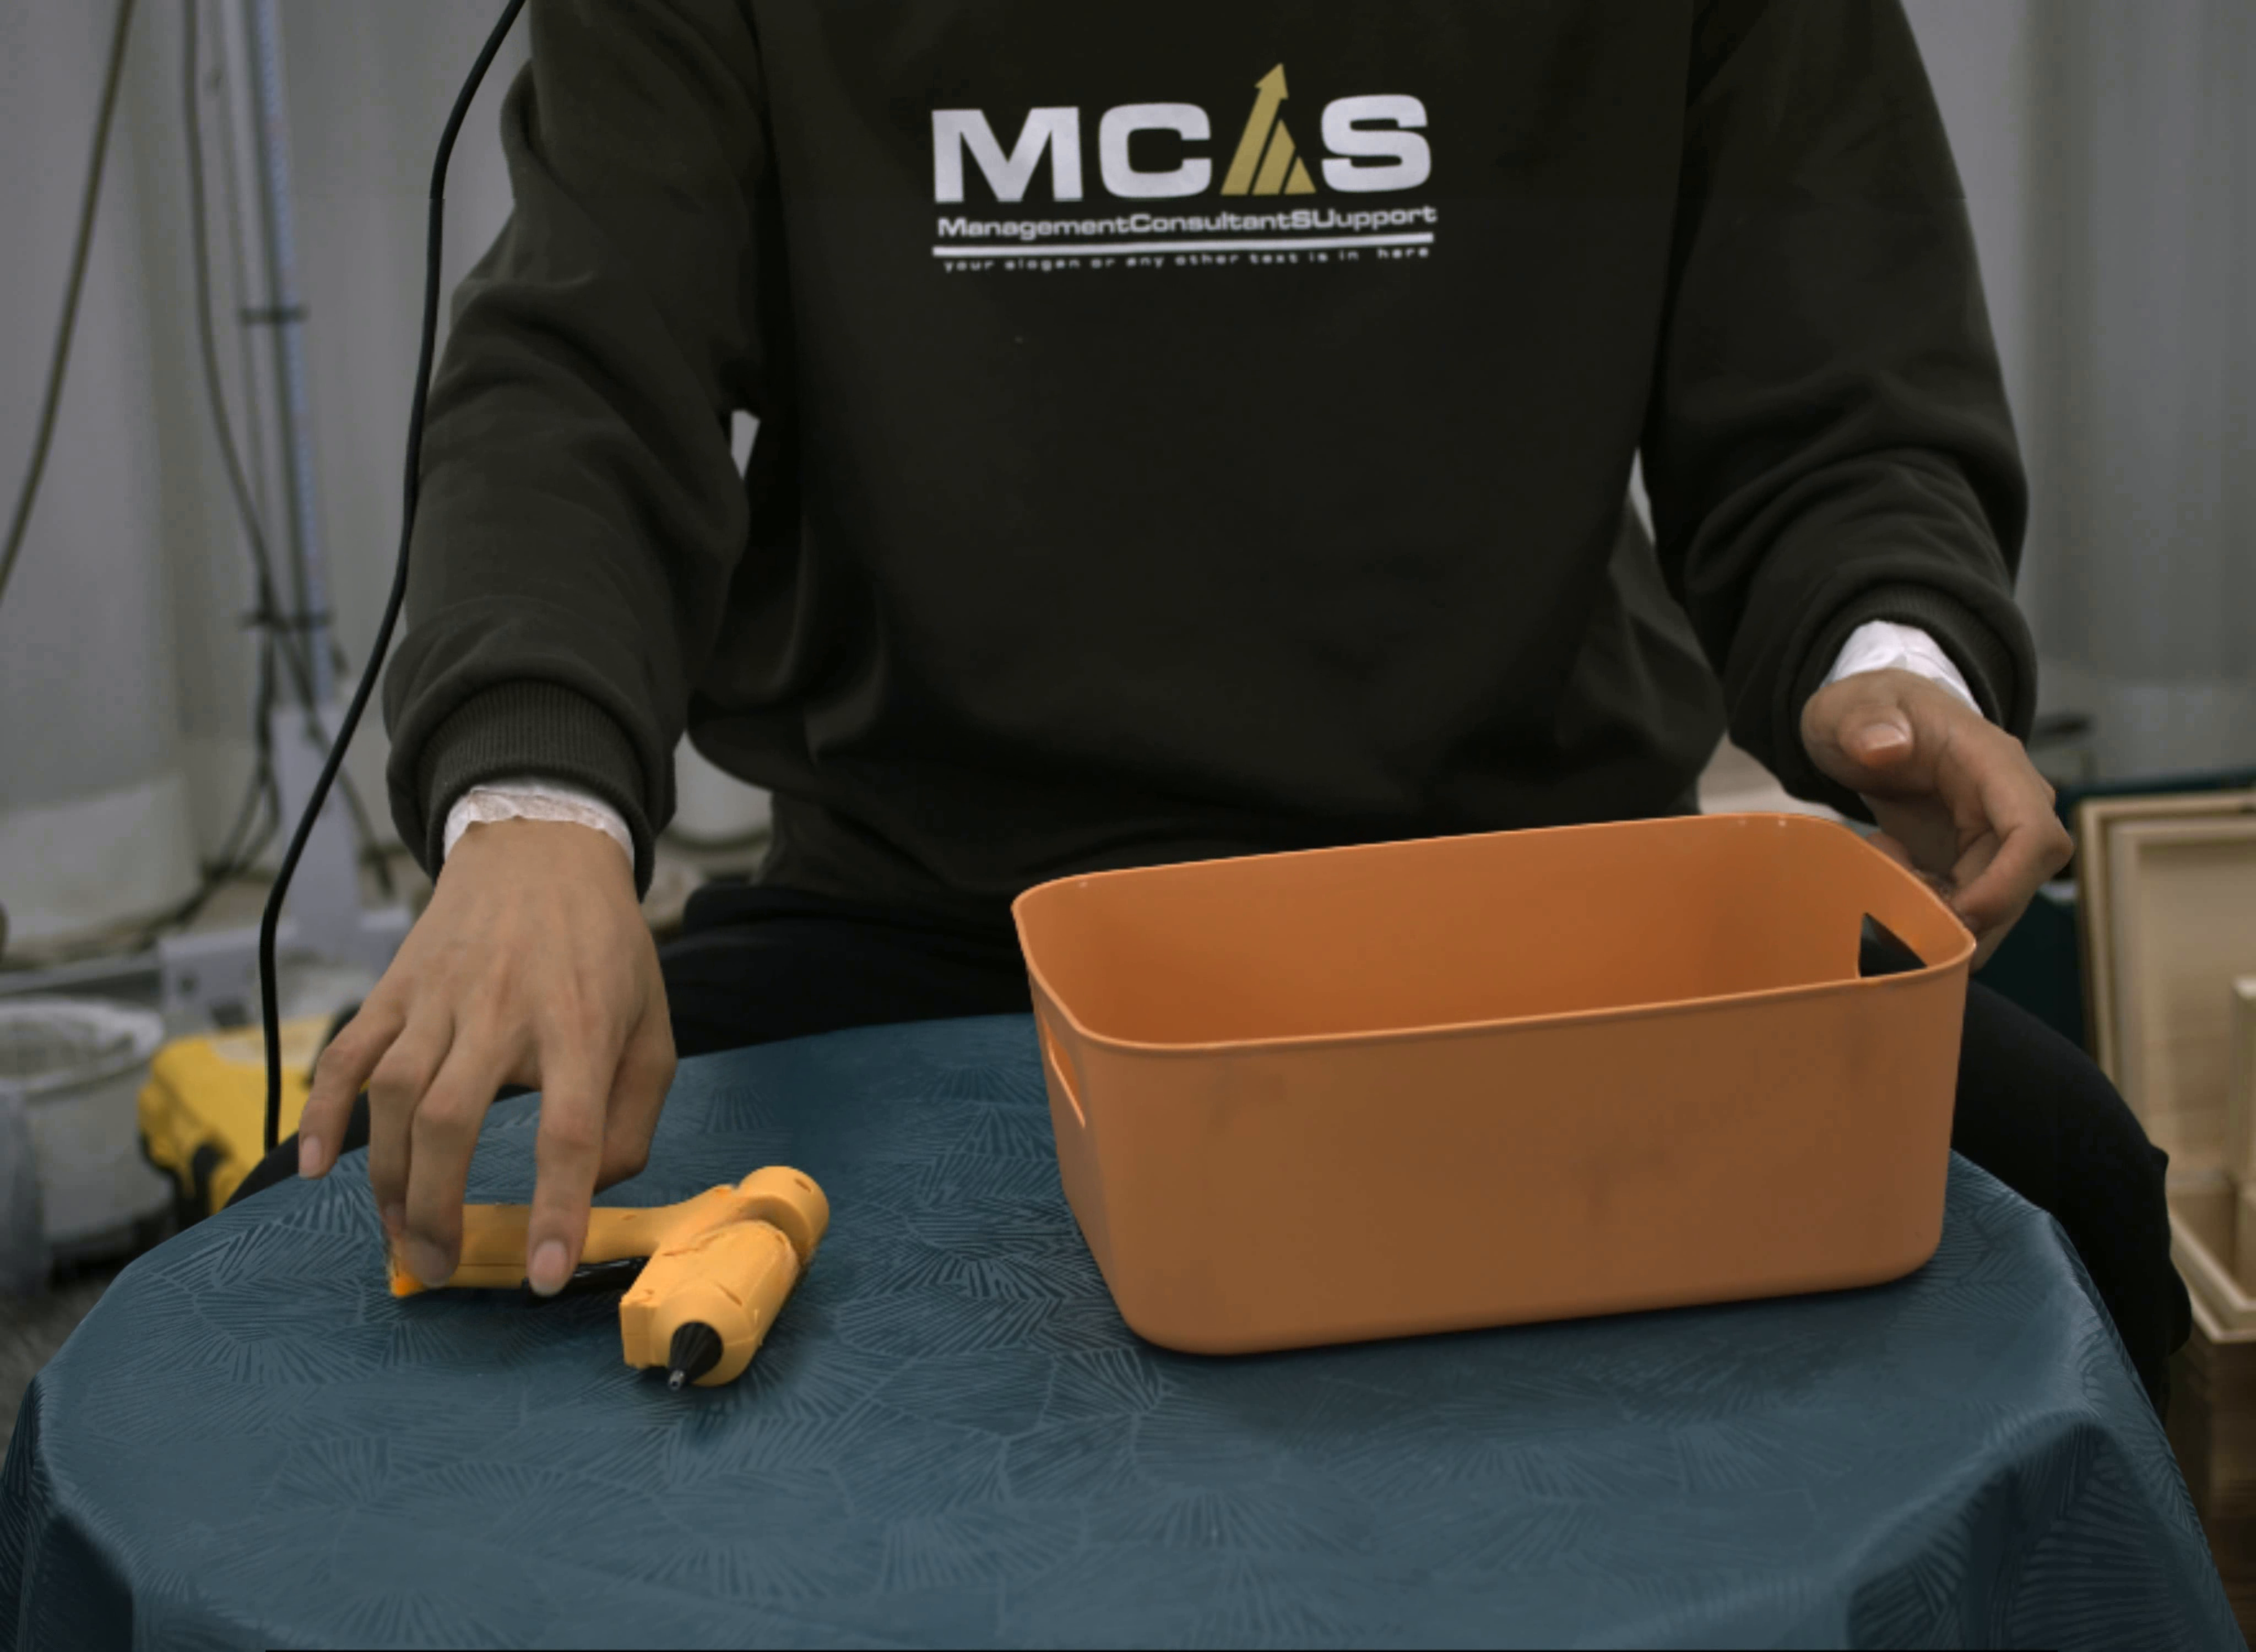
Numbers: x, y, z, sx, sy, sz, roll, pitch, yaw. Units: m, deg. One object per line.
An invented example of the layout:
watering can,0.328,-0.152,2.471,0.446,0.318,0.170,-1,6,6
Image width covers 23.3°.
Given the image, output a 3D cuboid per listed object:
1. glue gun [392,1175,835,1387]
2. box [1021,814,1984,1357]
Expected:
glue gun,-0.160,0.139,1.605,0.133,0.031,0.152,-3,13,5
box,0.109,0.076,1.643,0.272,0.102,0.201,-6,14,-8
